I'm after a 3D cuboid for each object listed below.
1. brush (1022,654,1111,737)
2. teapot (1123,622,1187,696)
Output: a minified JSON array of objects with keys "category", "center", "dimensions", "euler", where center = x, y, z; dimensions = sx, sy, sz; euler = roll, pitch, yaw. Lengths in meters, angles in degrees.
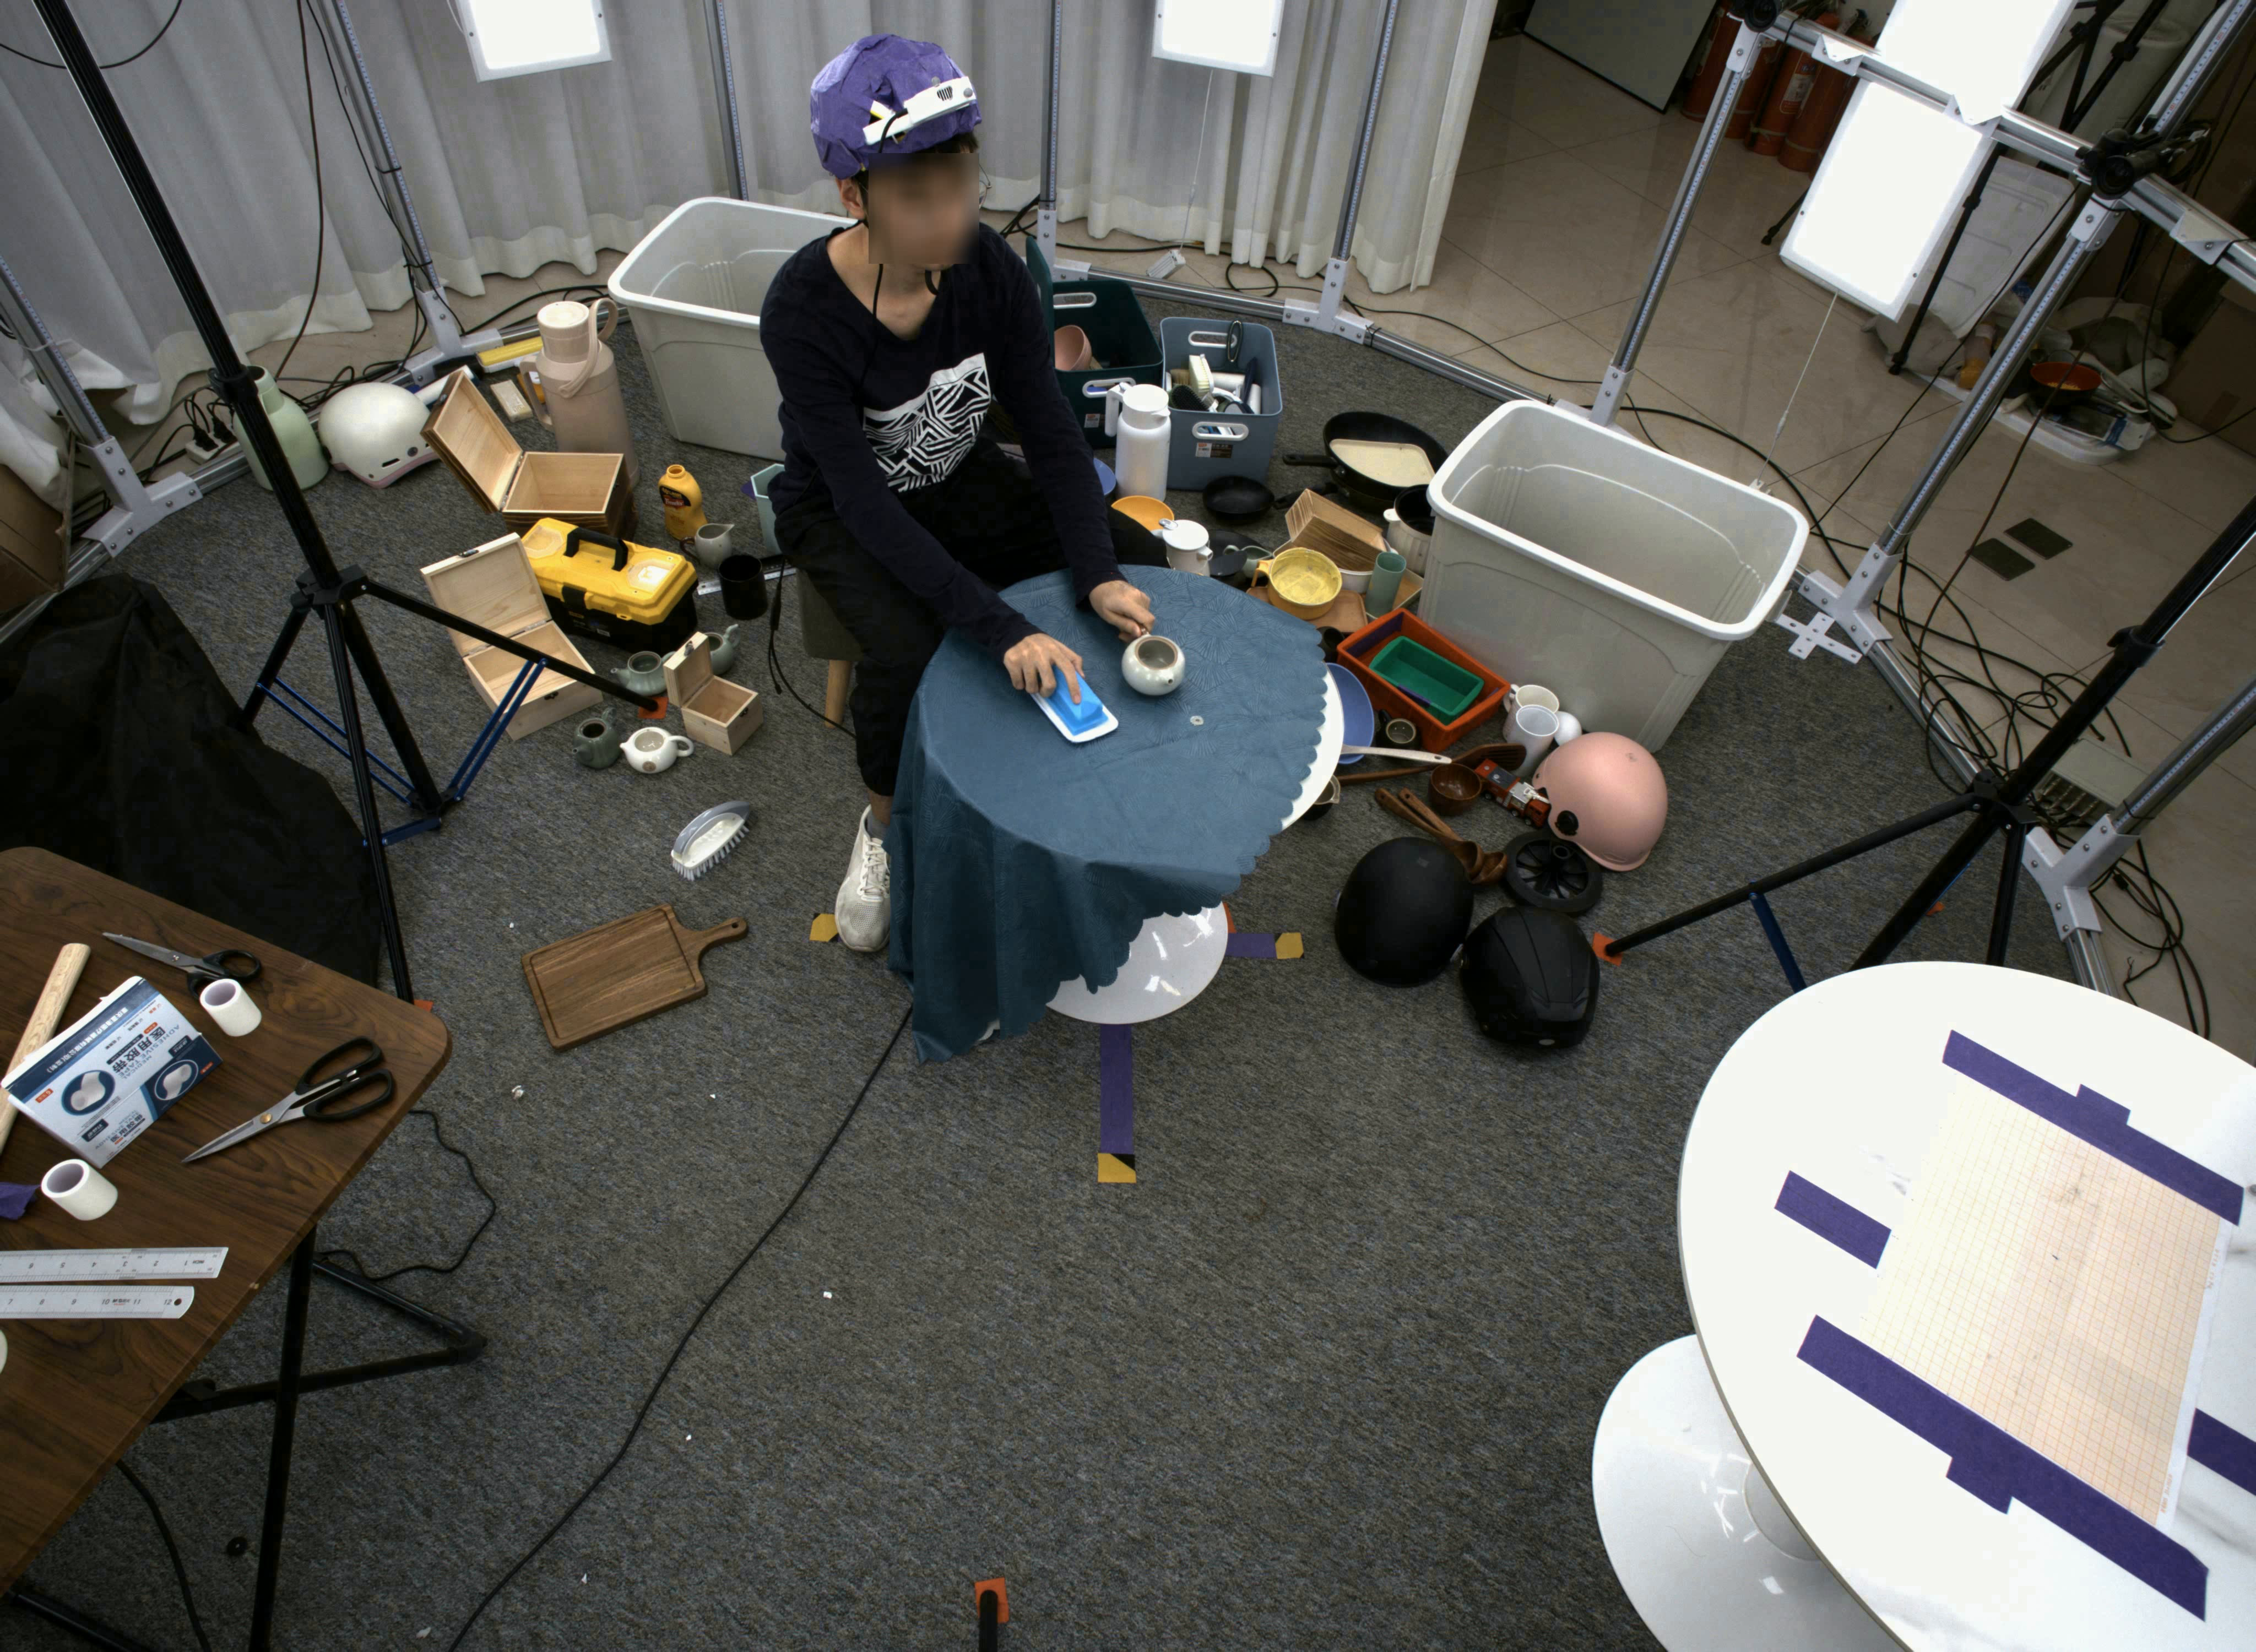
[{"category":"brush","center":[-0.084,-0.189,1.787],"dimensions":[0.084,0.054,0.147],"euler":[-19,55,-23]},{"category":"teapot","center":[0.035,-0.237,1.831],"dimensions":[0.092,0.058,0.130],"euler":[-18,61,-17]}]
